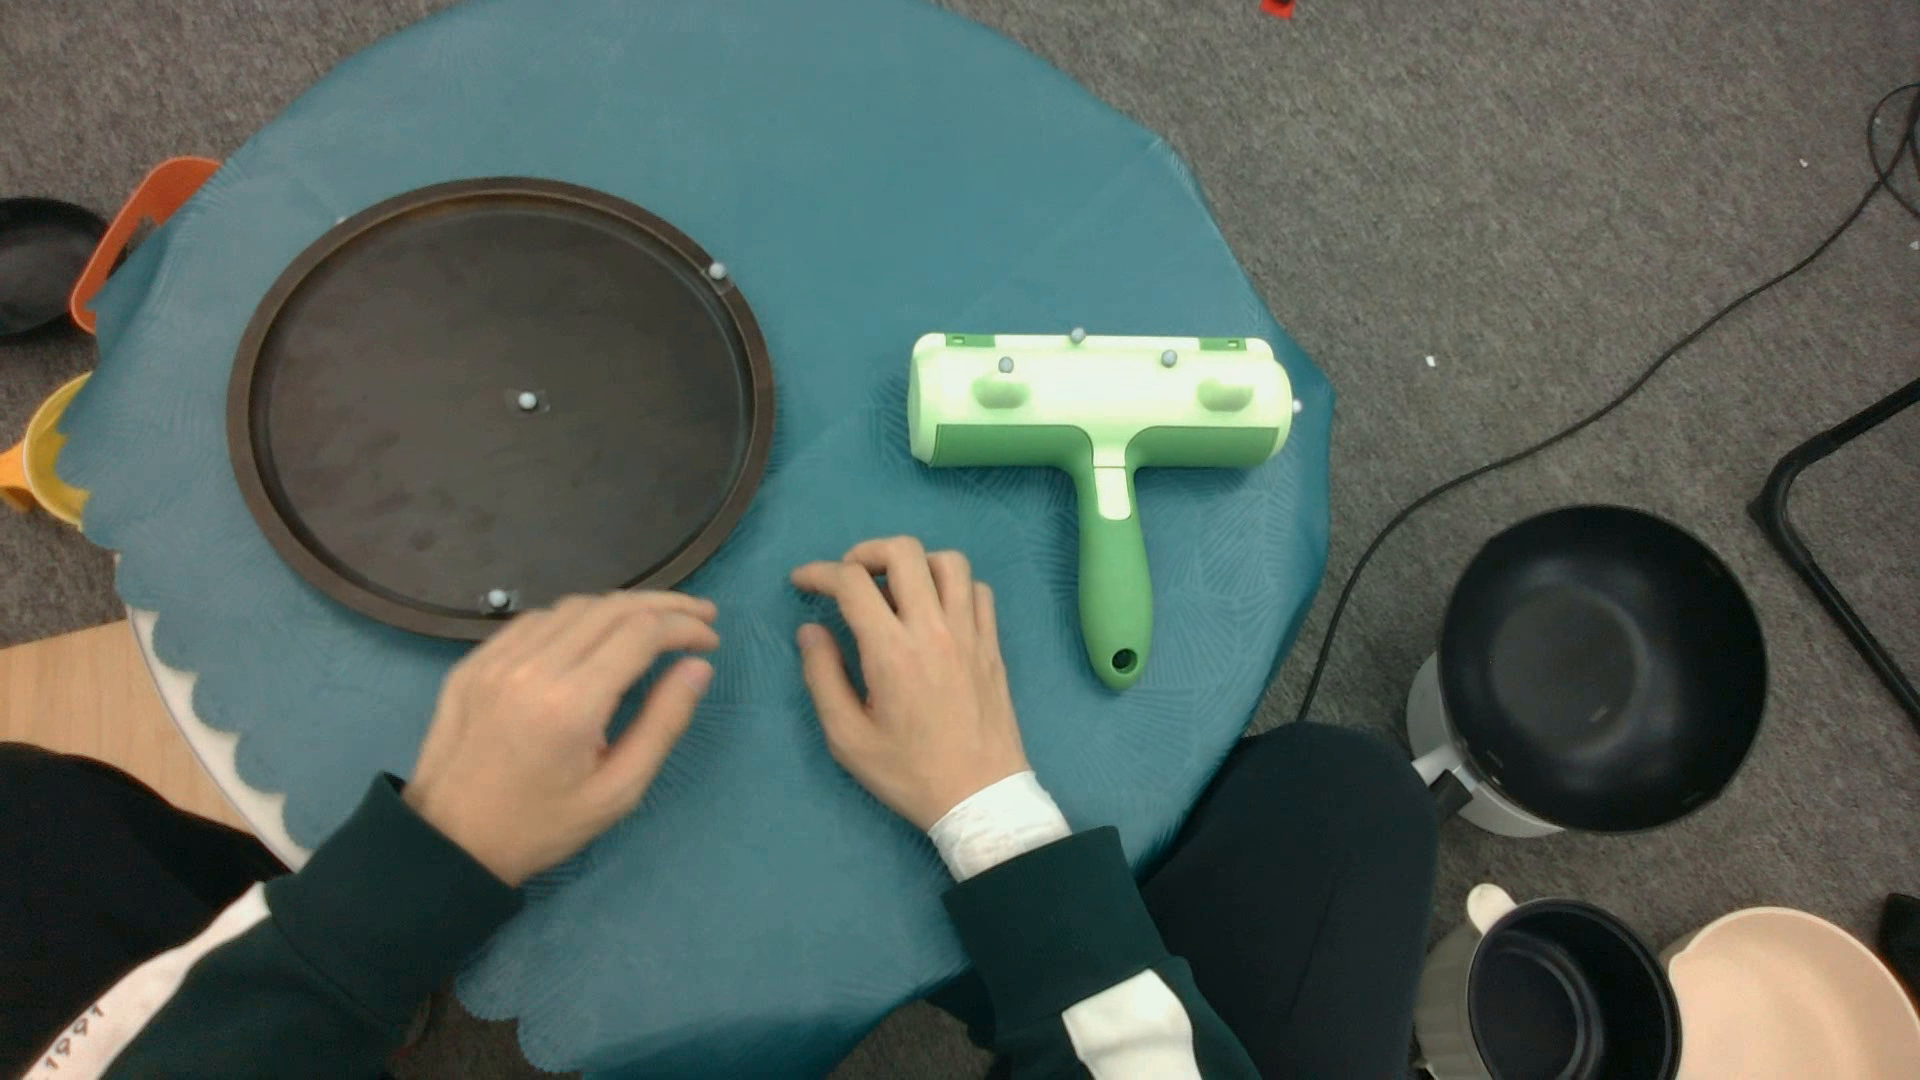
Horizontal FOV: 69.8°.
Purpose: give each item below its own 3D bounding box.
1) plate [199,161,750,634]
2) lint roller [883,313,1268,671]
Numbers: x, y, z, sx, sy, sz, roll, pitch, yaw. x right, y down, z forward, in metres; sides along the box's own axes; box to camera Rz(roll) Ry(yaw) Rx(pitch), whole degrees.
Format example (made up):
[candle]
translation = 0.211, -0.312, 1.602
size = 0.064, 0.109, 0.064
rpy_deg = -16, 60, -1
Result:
[plate]
translation = -0.230, -0.074, 0.671
size = 0.255, 0.029, 0.255
rpy_deg = 4, 67, -10
[lint roller]
translation = 0.067, -0.033, 0.682
size = 0.199, 0.082, 0.184
rpy_deg = -1, 66, -12
